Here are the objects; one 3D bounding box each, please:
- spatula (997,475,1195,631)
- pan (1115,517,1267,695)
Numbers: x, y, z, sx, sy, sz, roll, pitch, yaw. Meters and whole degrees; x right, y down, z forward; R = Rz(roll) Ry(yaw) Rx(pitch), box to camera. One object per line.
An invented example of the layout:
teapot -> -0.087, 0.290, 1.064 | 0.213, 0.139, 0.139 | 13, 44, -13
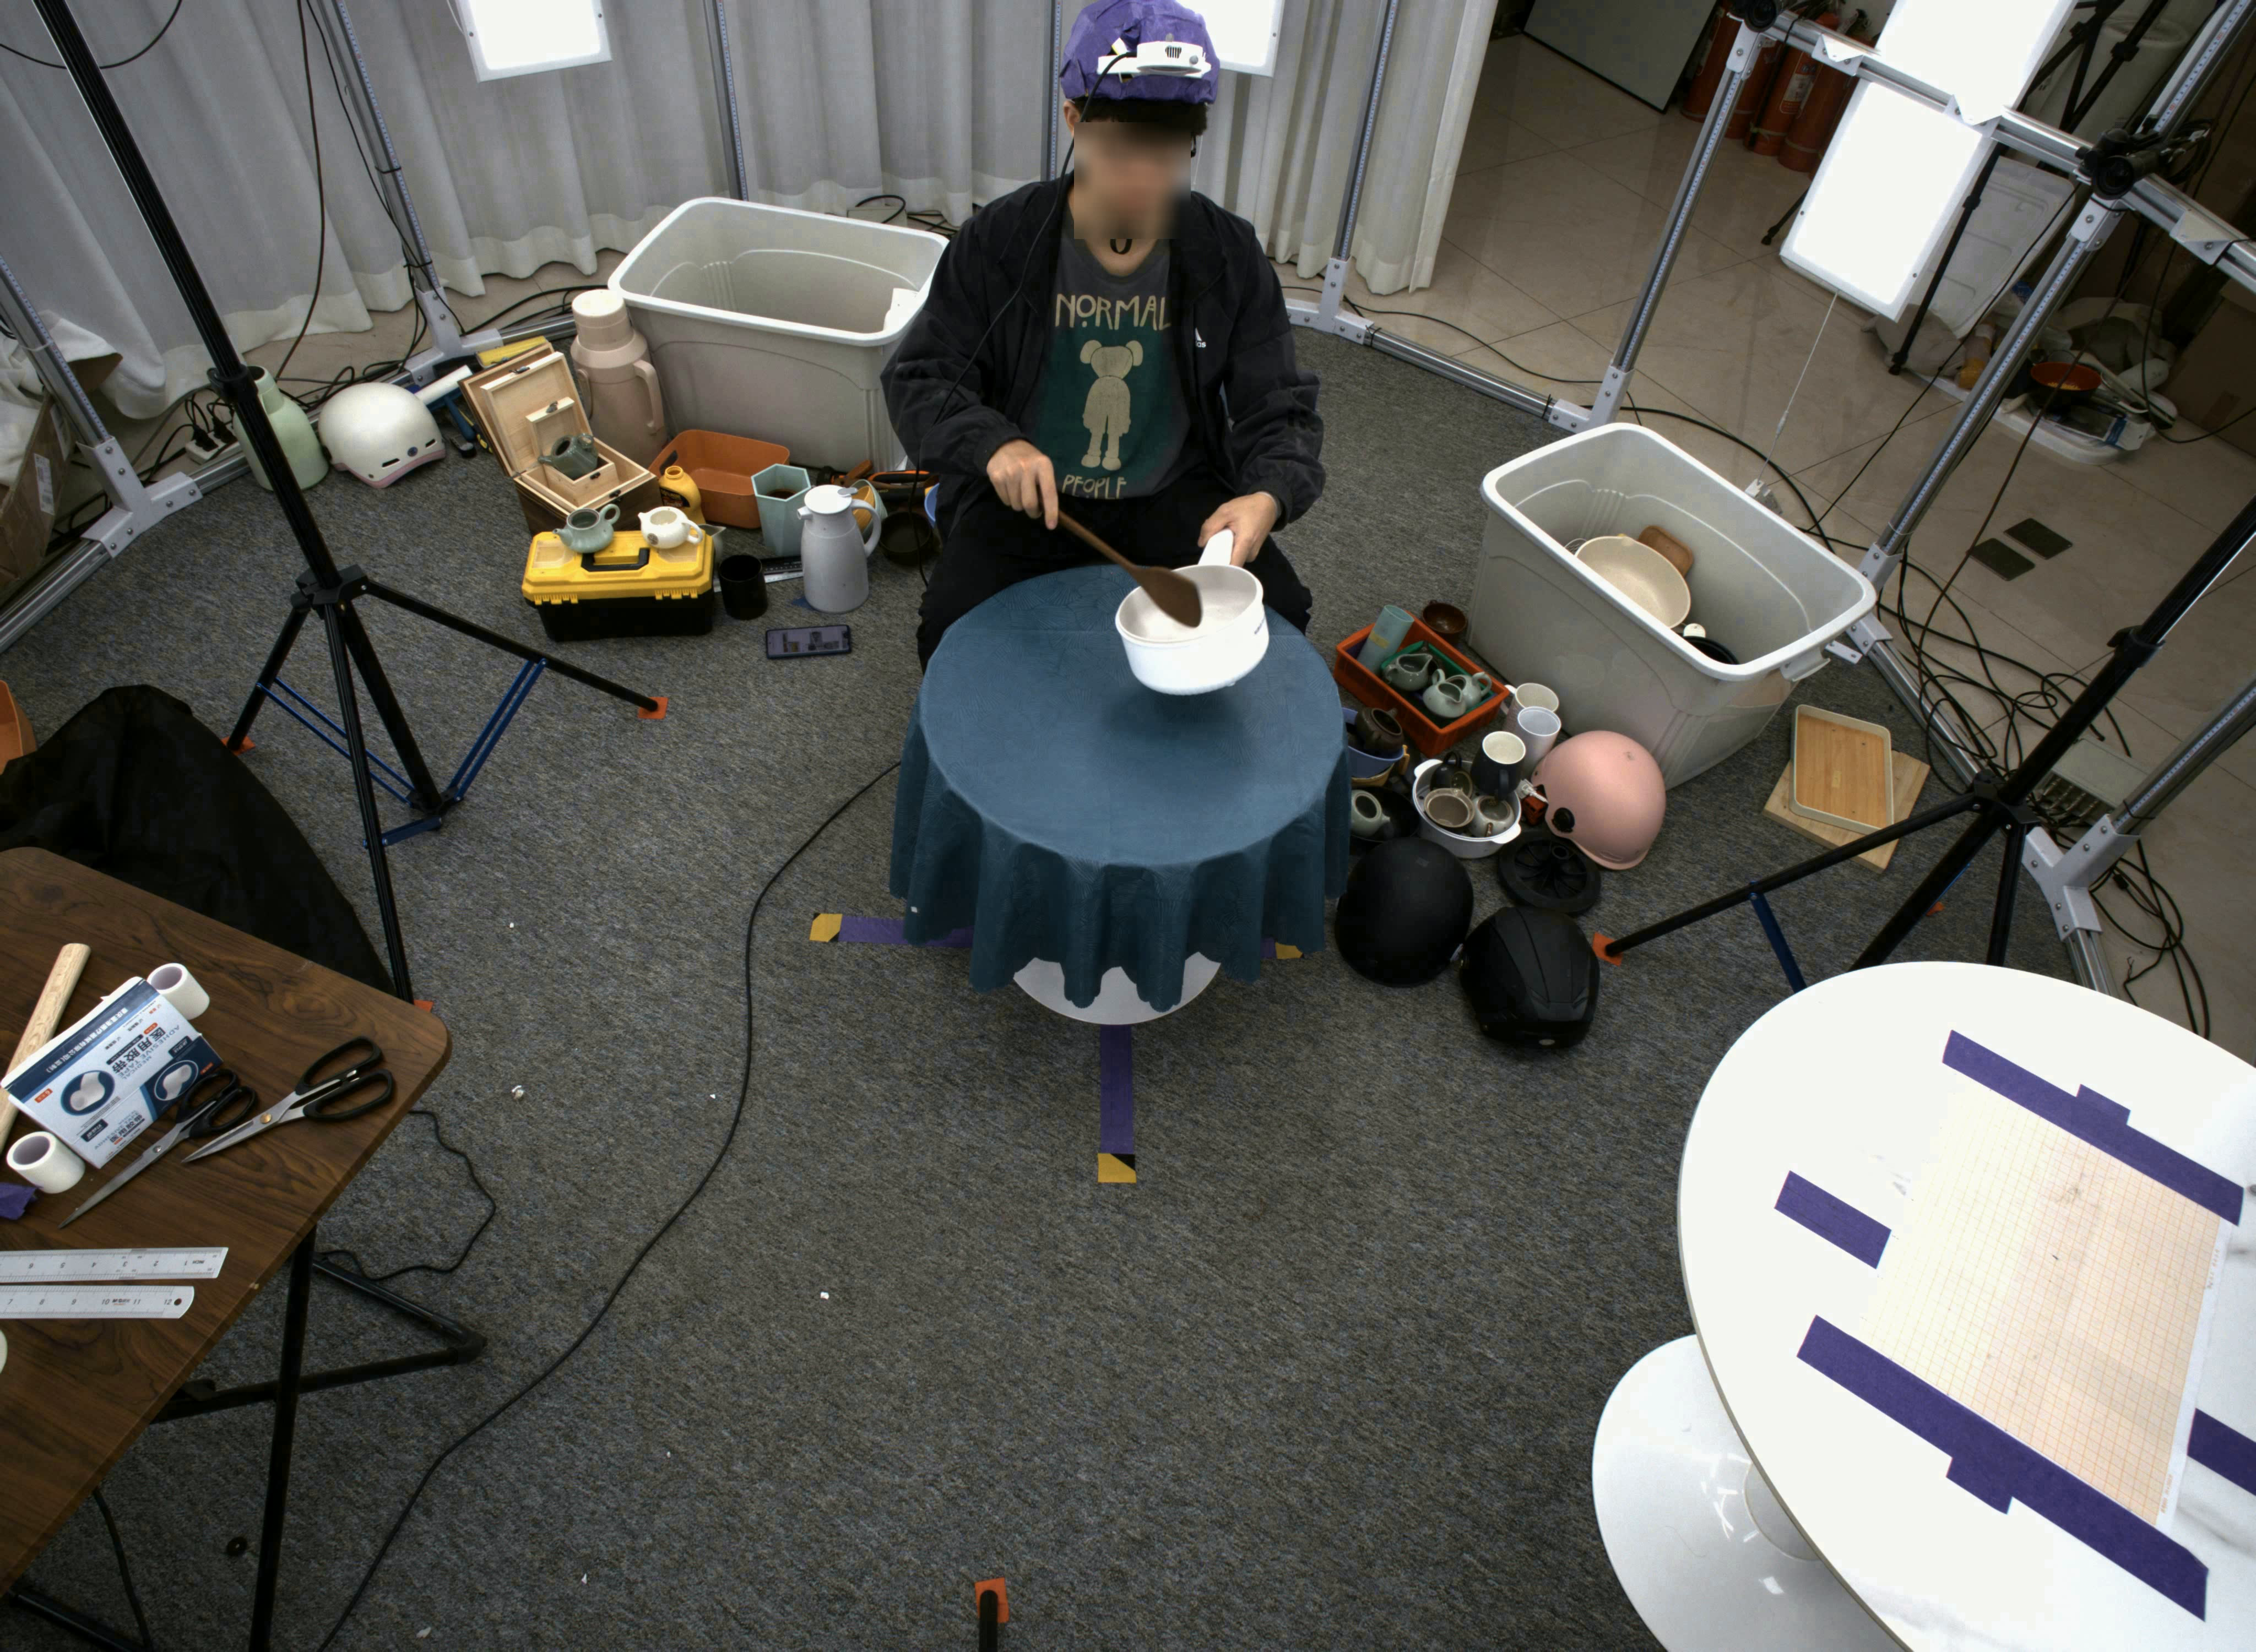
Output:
spatula -> -0.049, -0.389, 1.775 | 0.016, 0.094, 0.392 | -40, 62, -19
pan -> 0.112, -0.311, 1.806 | 0.201, 0.100, 0.362 | -2, 37, 23
